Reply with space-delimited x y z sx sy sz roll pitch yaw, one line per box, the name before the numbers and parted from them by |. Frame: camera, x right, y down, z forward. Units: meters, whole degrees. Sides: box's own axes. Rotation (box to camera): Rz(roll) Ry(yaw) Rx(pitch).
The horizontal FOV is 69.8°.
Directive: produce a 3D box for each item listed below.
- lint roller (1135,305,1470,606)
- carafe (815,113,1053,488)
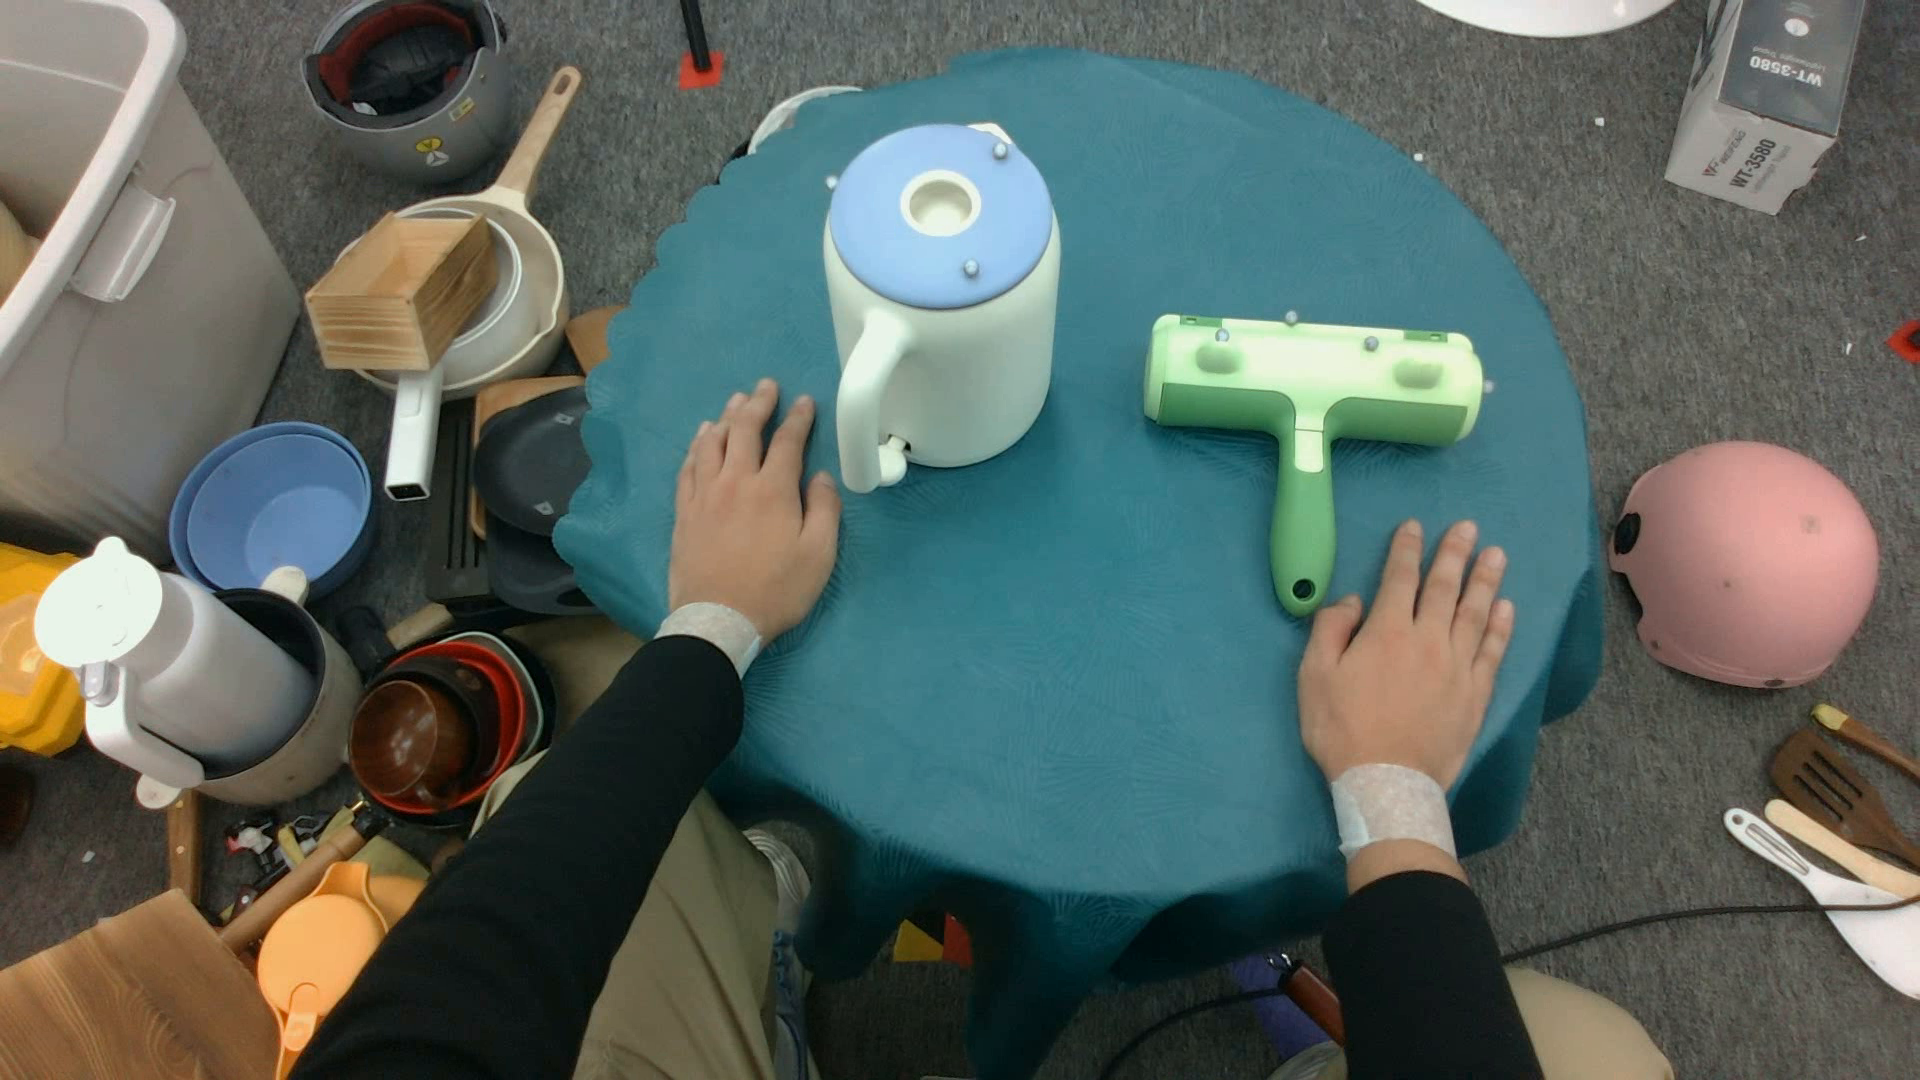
lint roller | 0.202 -0.058 0.812 0.198 0.082 0.184 5 62 4
carafe | -0.024 -0.122 0.791 0.132 0.182 0.192 21 68 10
